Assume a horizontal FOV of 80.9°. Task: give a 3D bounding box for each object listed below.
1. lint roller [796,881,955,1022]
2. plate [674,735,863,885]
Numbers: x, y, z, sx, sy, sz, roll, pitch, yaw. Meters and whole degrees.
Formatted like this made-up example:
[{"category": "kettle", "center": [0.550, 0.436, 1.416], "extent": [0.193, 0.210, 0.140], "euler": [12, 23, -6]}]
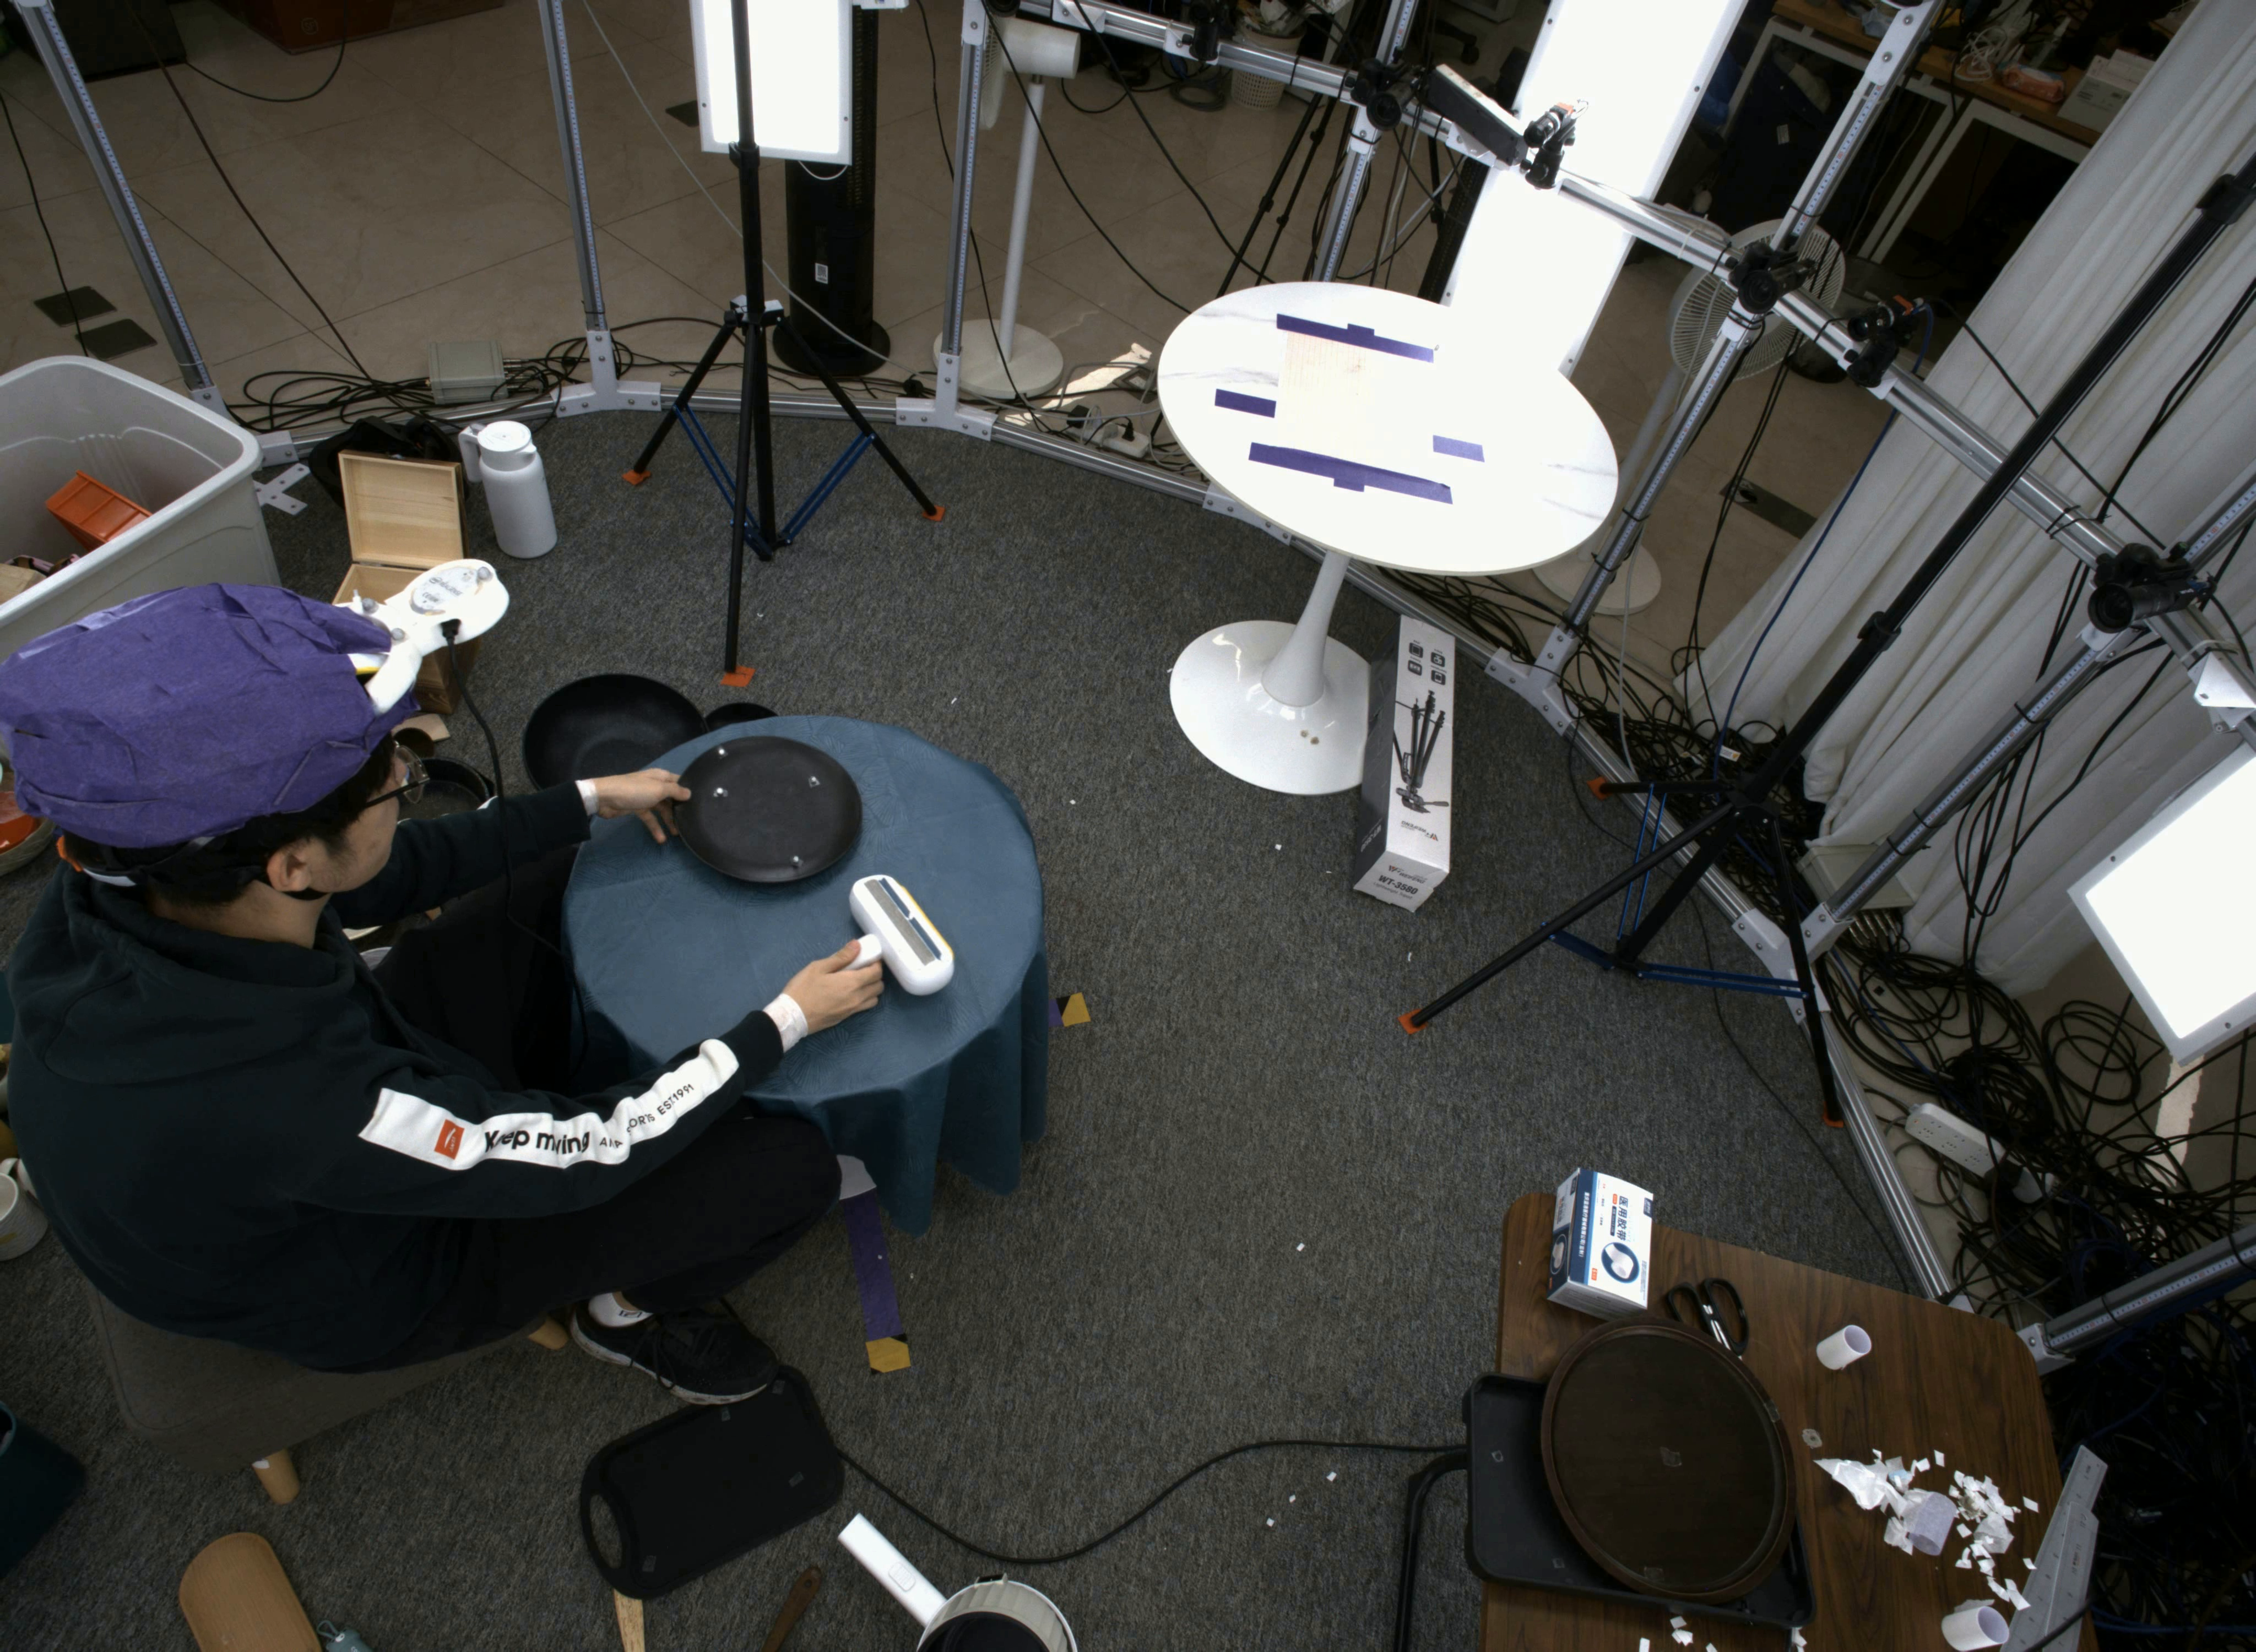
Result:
[{"category": "lint roller", "center": [-0.328, 0.172, 1.607], "extent": [0.192, 0.076, 0.187], "euler": [-27, 55, -15]}, {"category": "plate", "center": [-0.473, -0.021, 1.708], "extent": [0.245, 0.024, 0.240], "euler": [11, 52, -13]}]
